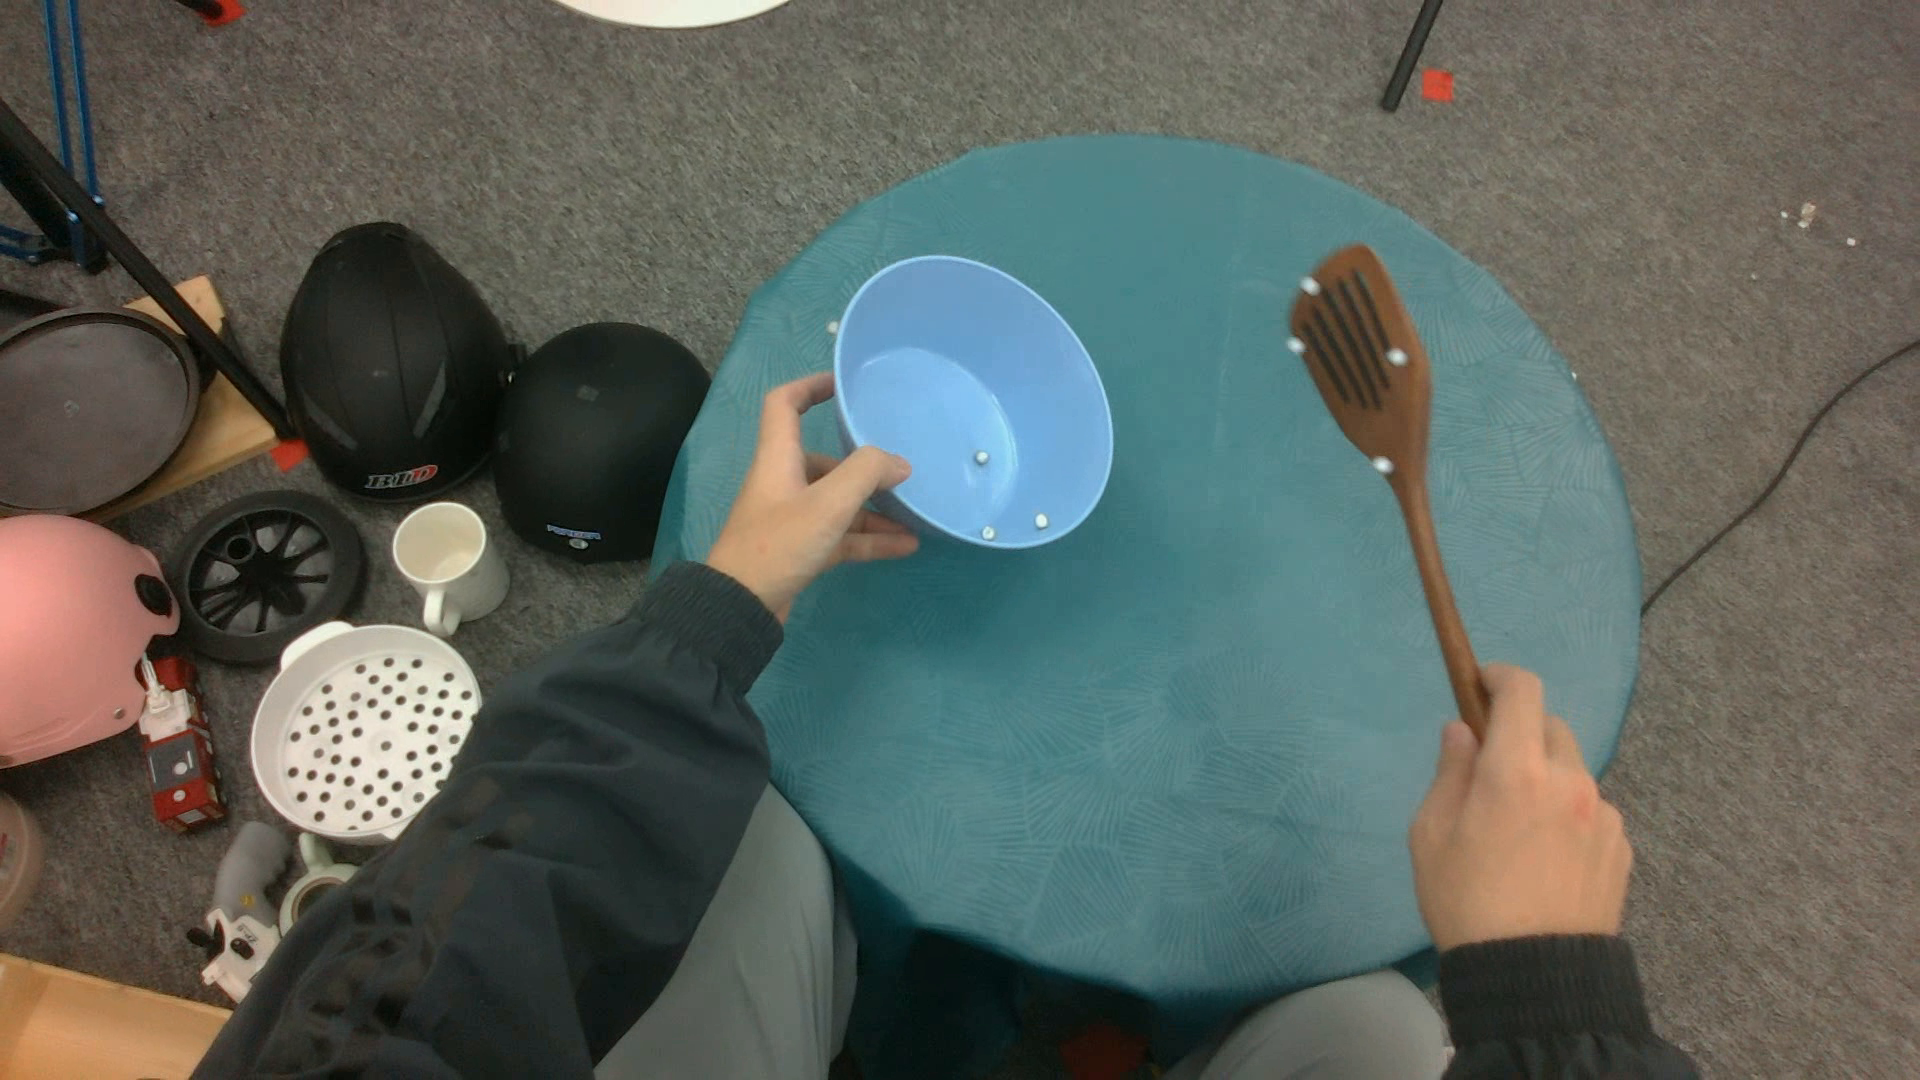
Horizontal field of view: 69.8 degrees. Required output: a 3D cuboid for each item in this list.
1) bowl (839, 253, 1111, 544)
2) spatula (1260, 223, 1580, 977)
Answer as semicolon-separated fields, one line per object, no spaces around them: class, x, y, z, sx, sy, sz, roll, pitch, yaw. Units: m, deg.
bowl;-0.002;-0.071;0.791;0.176;0.070;0.176;13;64;-28
spatula;0.229;0.019;0.682;0.024;0.085;0.387;-8;71;-18
